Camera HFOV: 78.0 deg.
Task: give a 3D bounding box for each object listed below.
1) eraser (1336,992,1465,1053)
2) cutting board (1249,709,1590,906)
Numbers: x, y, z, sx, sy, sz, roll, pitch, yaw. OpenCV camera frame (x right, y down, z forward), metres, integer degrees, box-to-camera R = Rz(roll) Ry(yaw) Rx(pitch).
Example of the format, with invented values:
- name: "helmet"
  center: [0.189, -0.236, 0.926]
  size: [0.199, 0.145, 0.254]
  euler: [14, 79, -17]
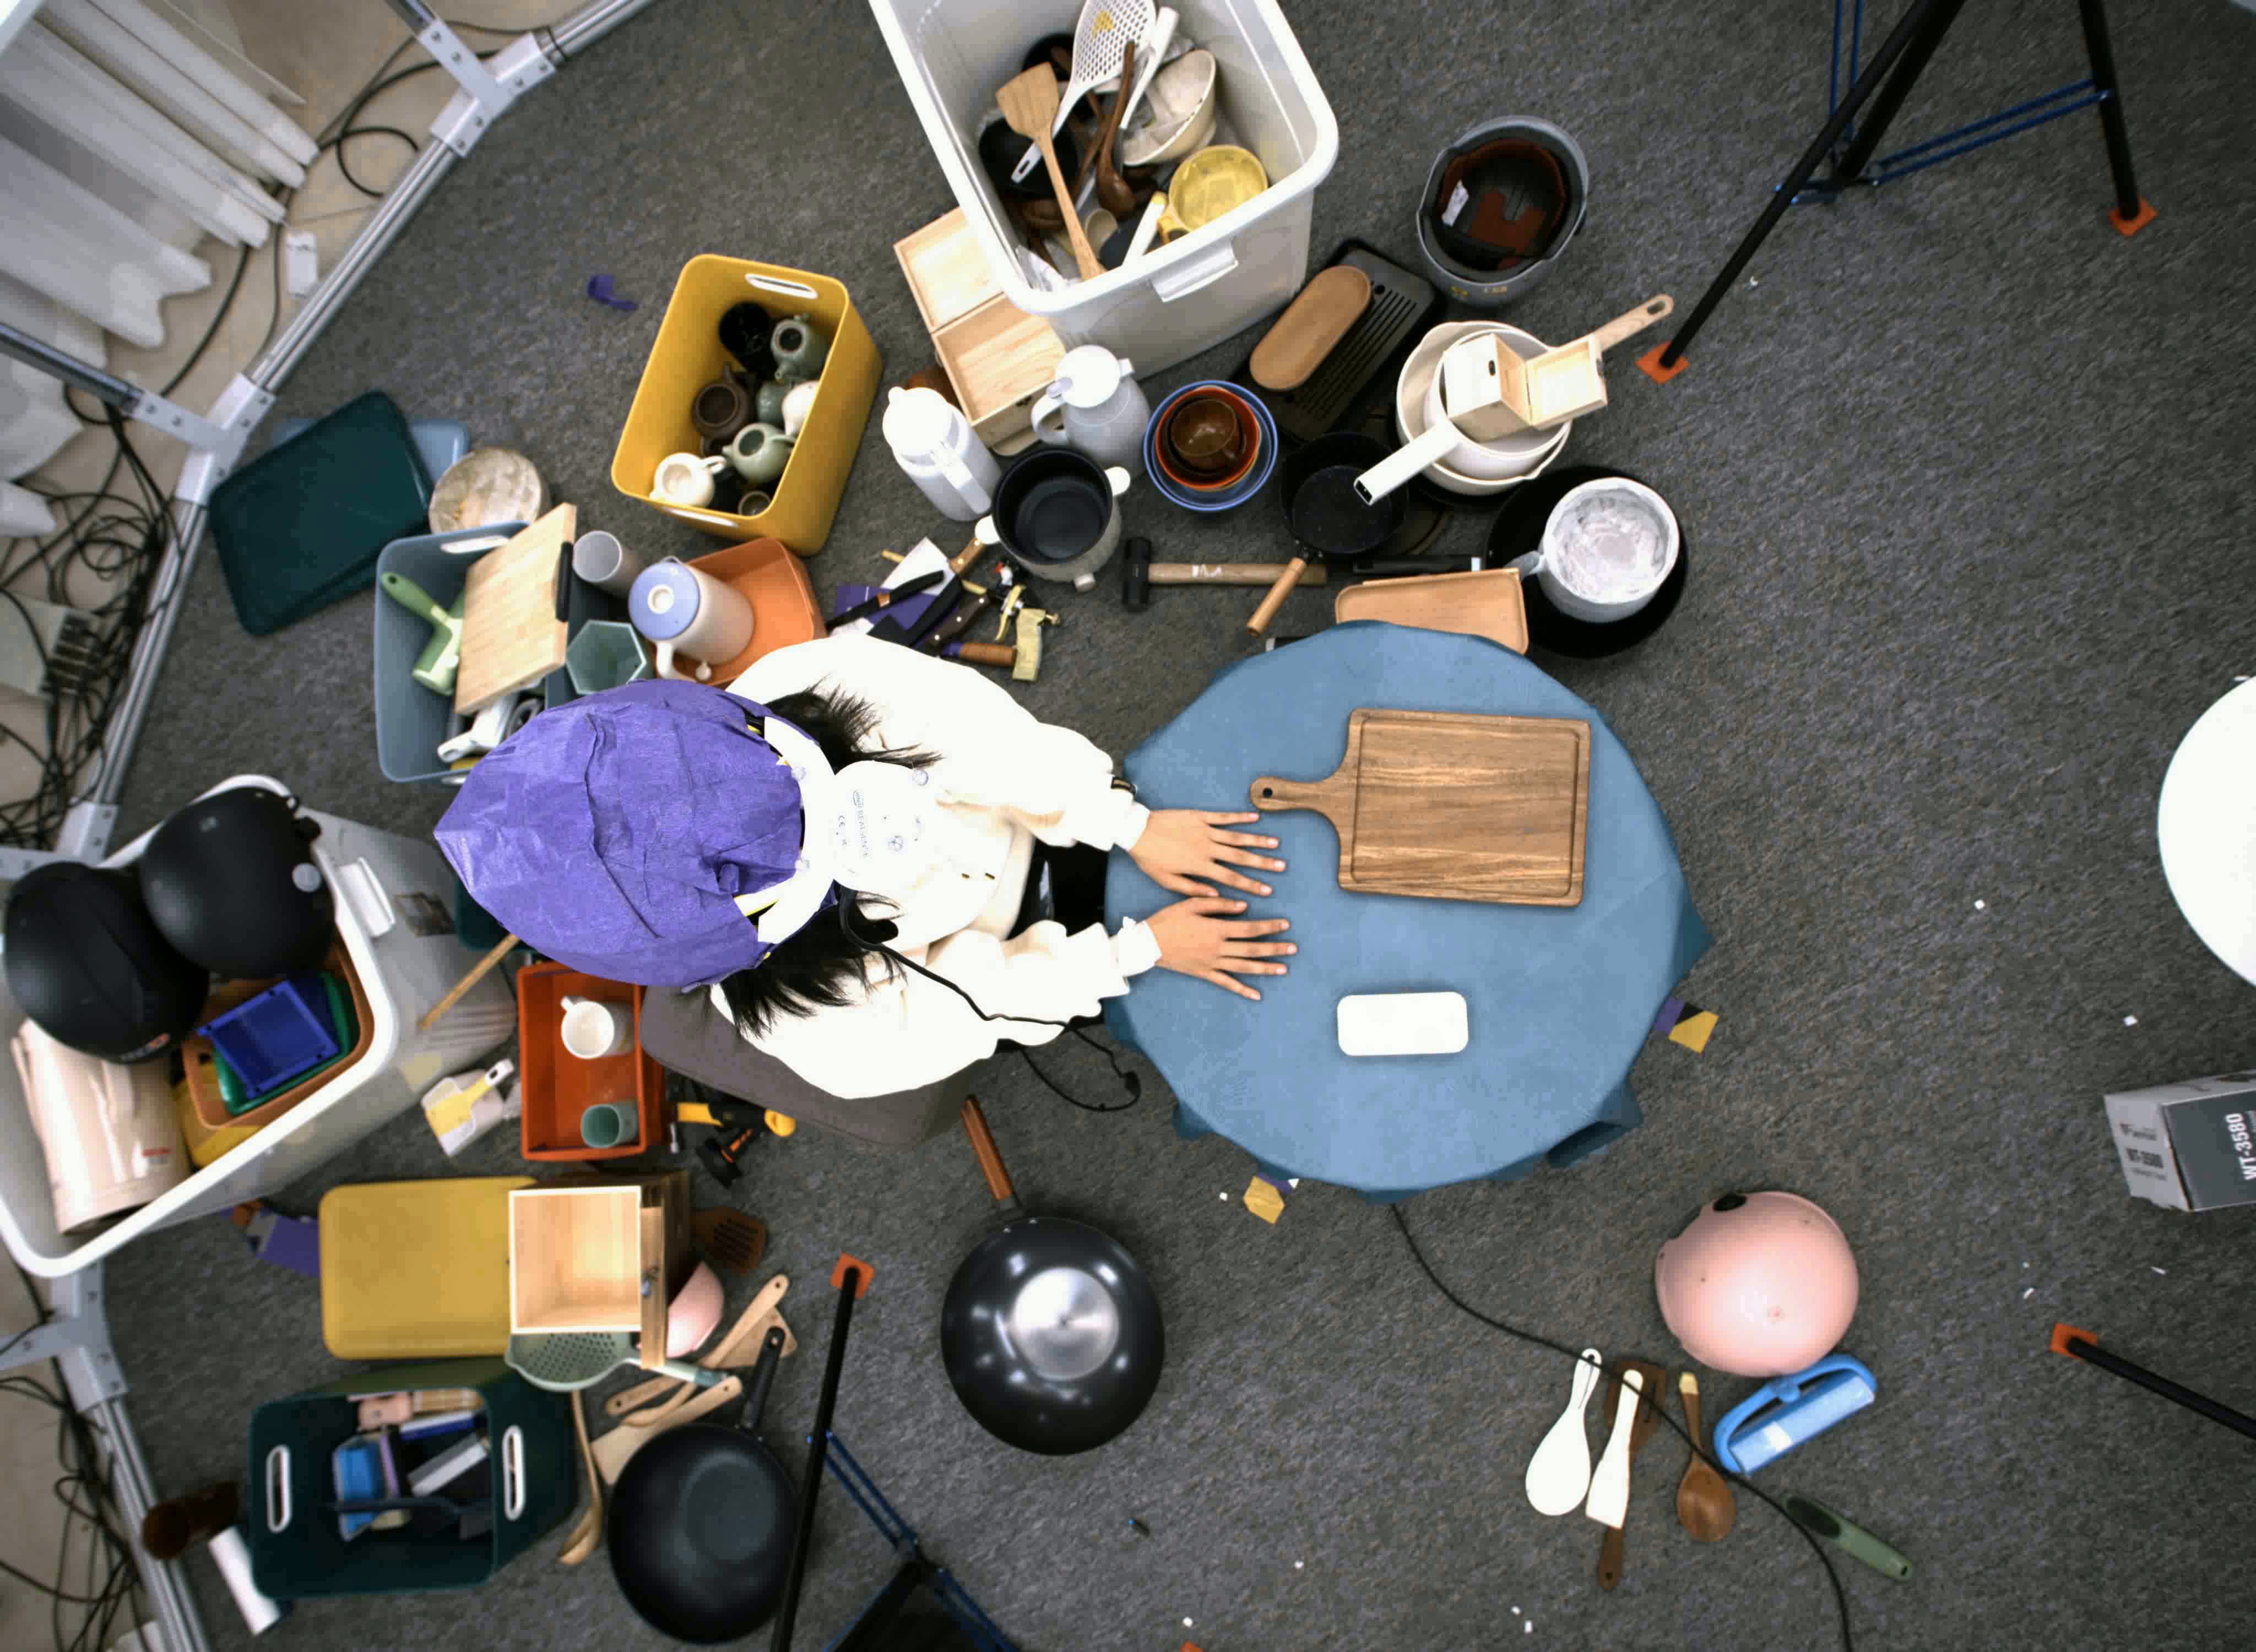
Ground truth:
- name: "eraser"
  center: [0.283, 0.201, 1.435]
  size: [0.132, 0.034, 0.063]
  euler: [-2, 87, 10]
- name: "cutting board"
  center: [0.303, -0.025, 1.448]
  size: [0.353, 0.023, 0.200]
  euler: [3, 87, 10]
